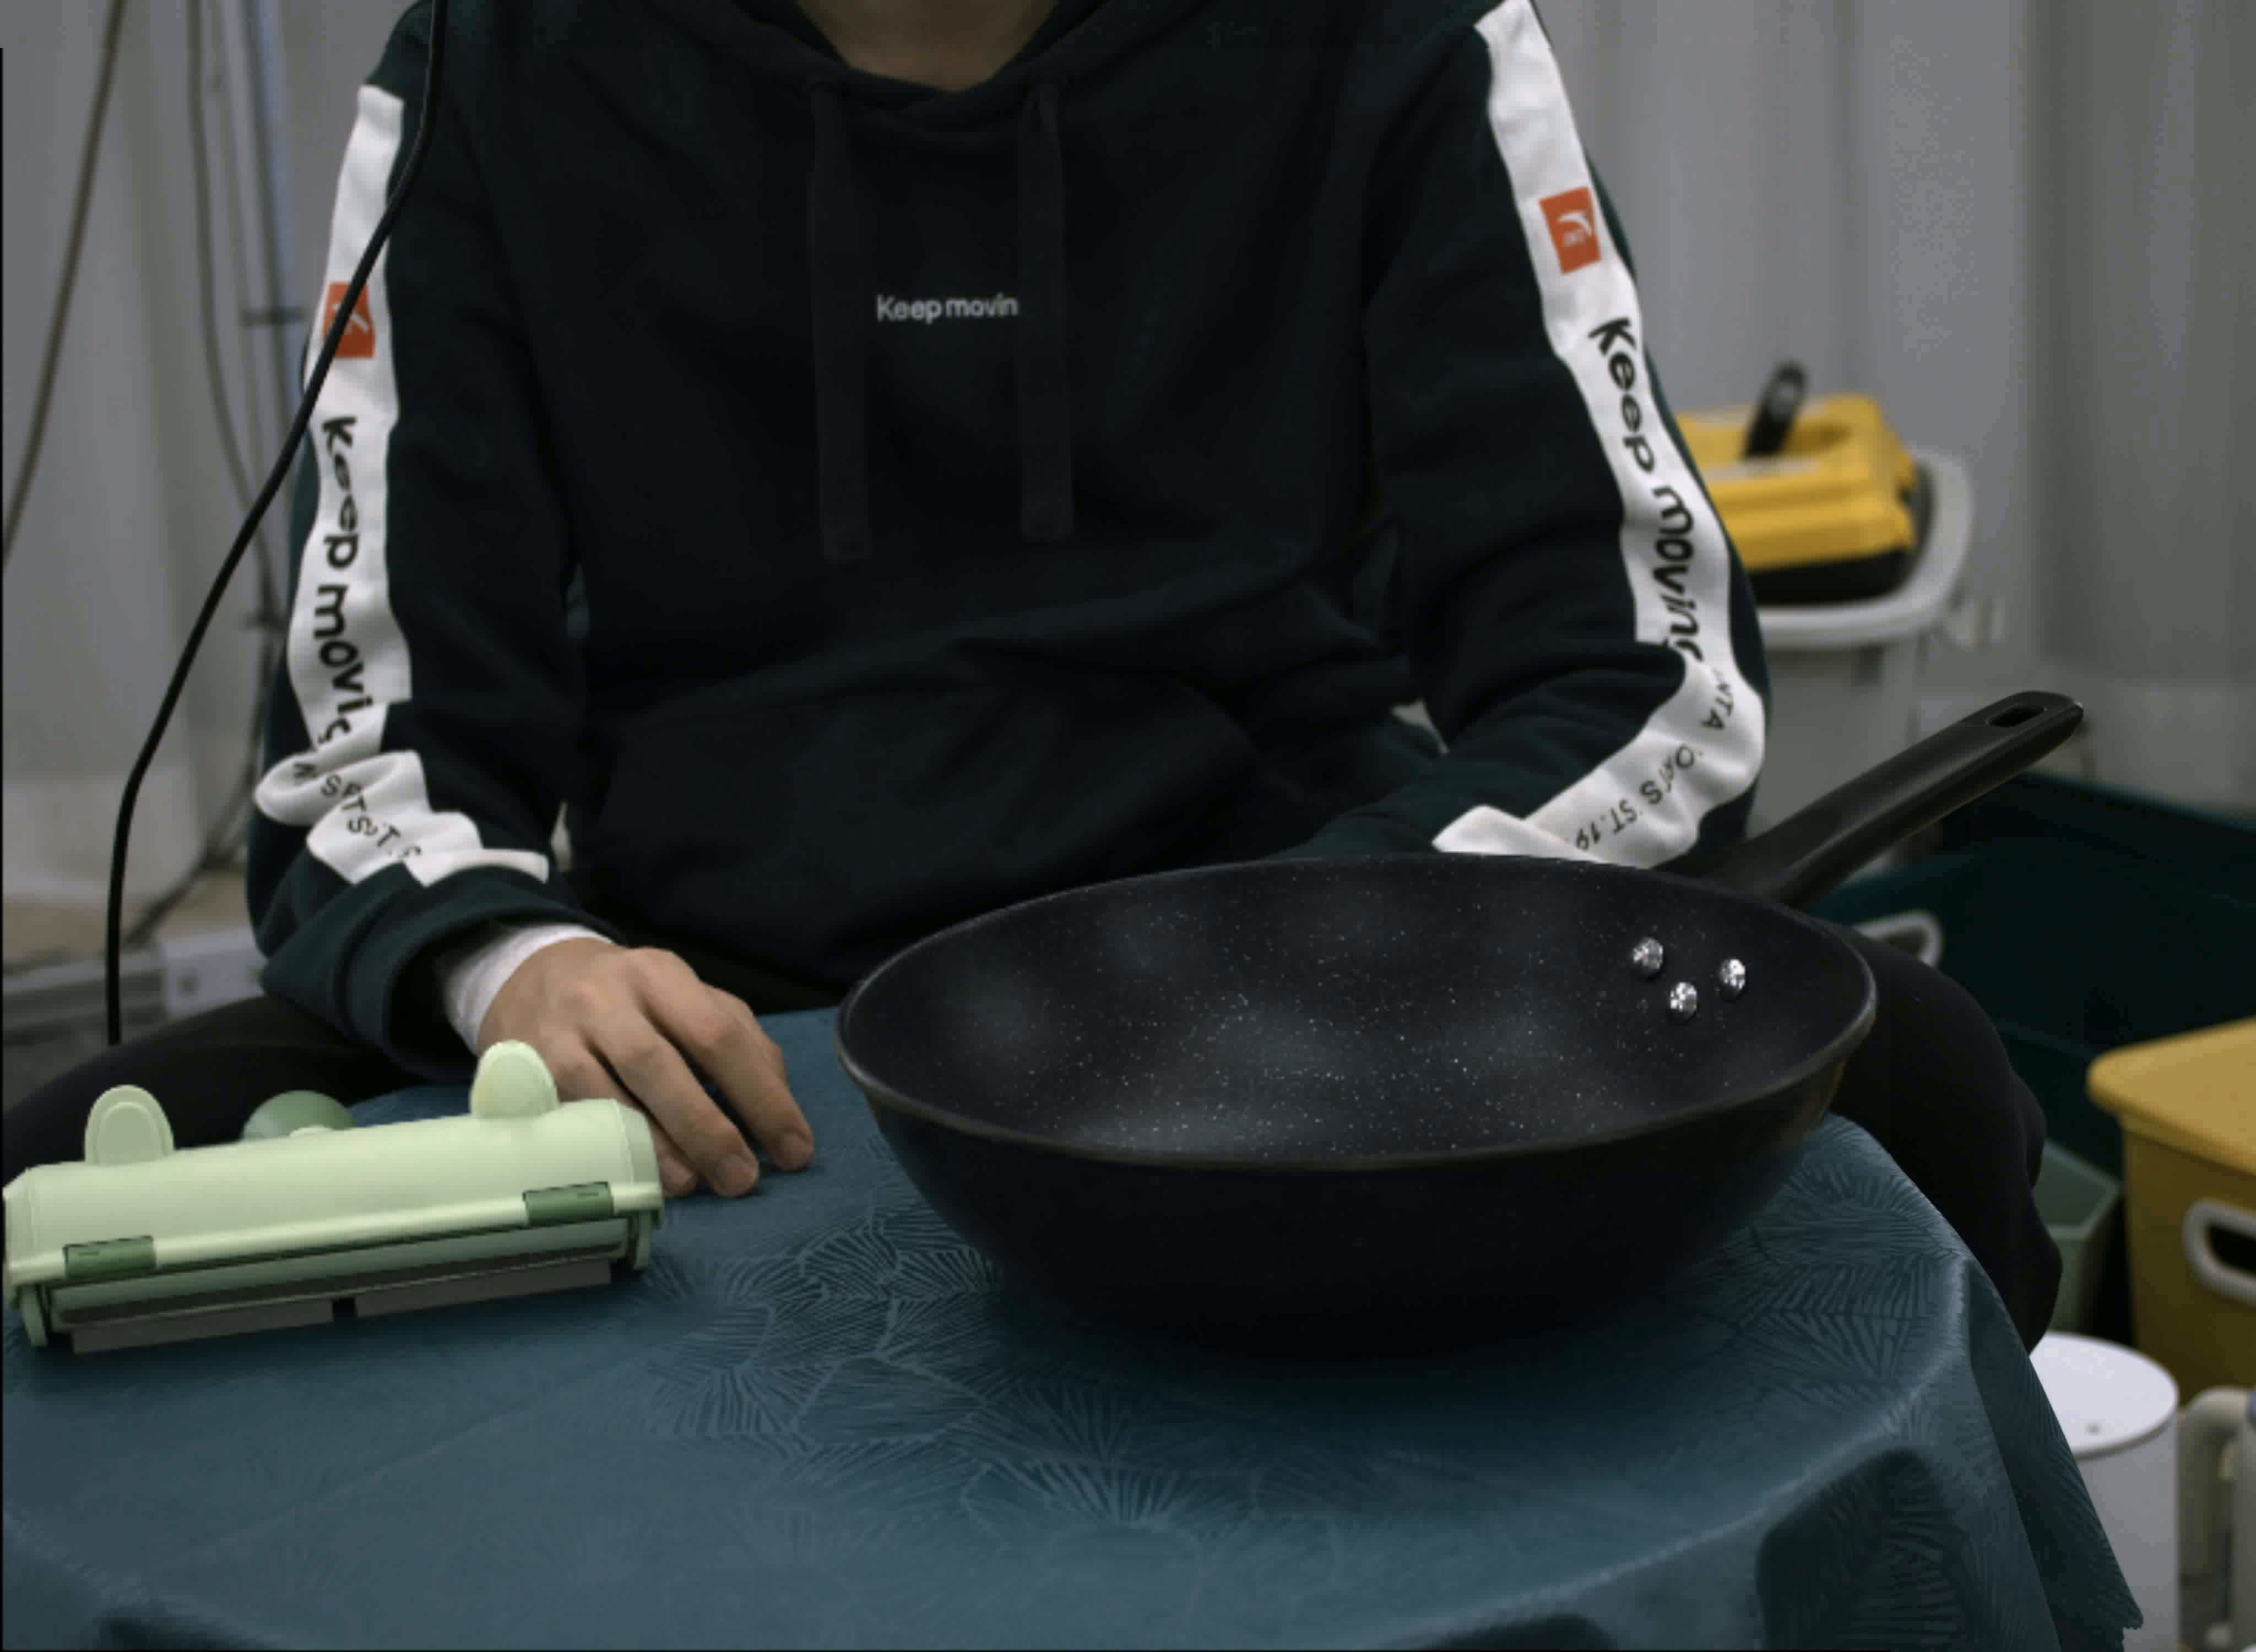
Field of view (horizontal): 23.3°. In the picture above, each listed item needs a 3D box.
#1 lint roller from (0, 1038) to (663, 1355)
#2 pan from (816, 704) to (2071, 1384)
[{"bbox_3d":[-0.253,0.095,1.694,0.198,0.081,0.185,-7,20,-12],"label":"lint roller"},{"bbox_3d":[0.126,0.065,1.671,0.476,0.111,0.312,-16,21,-38],"label":"pan"}]
